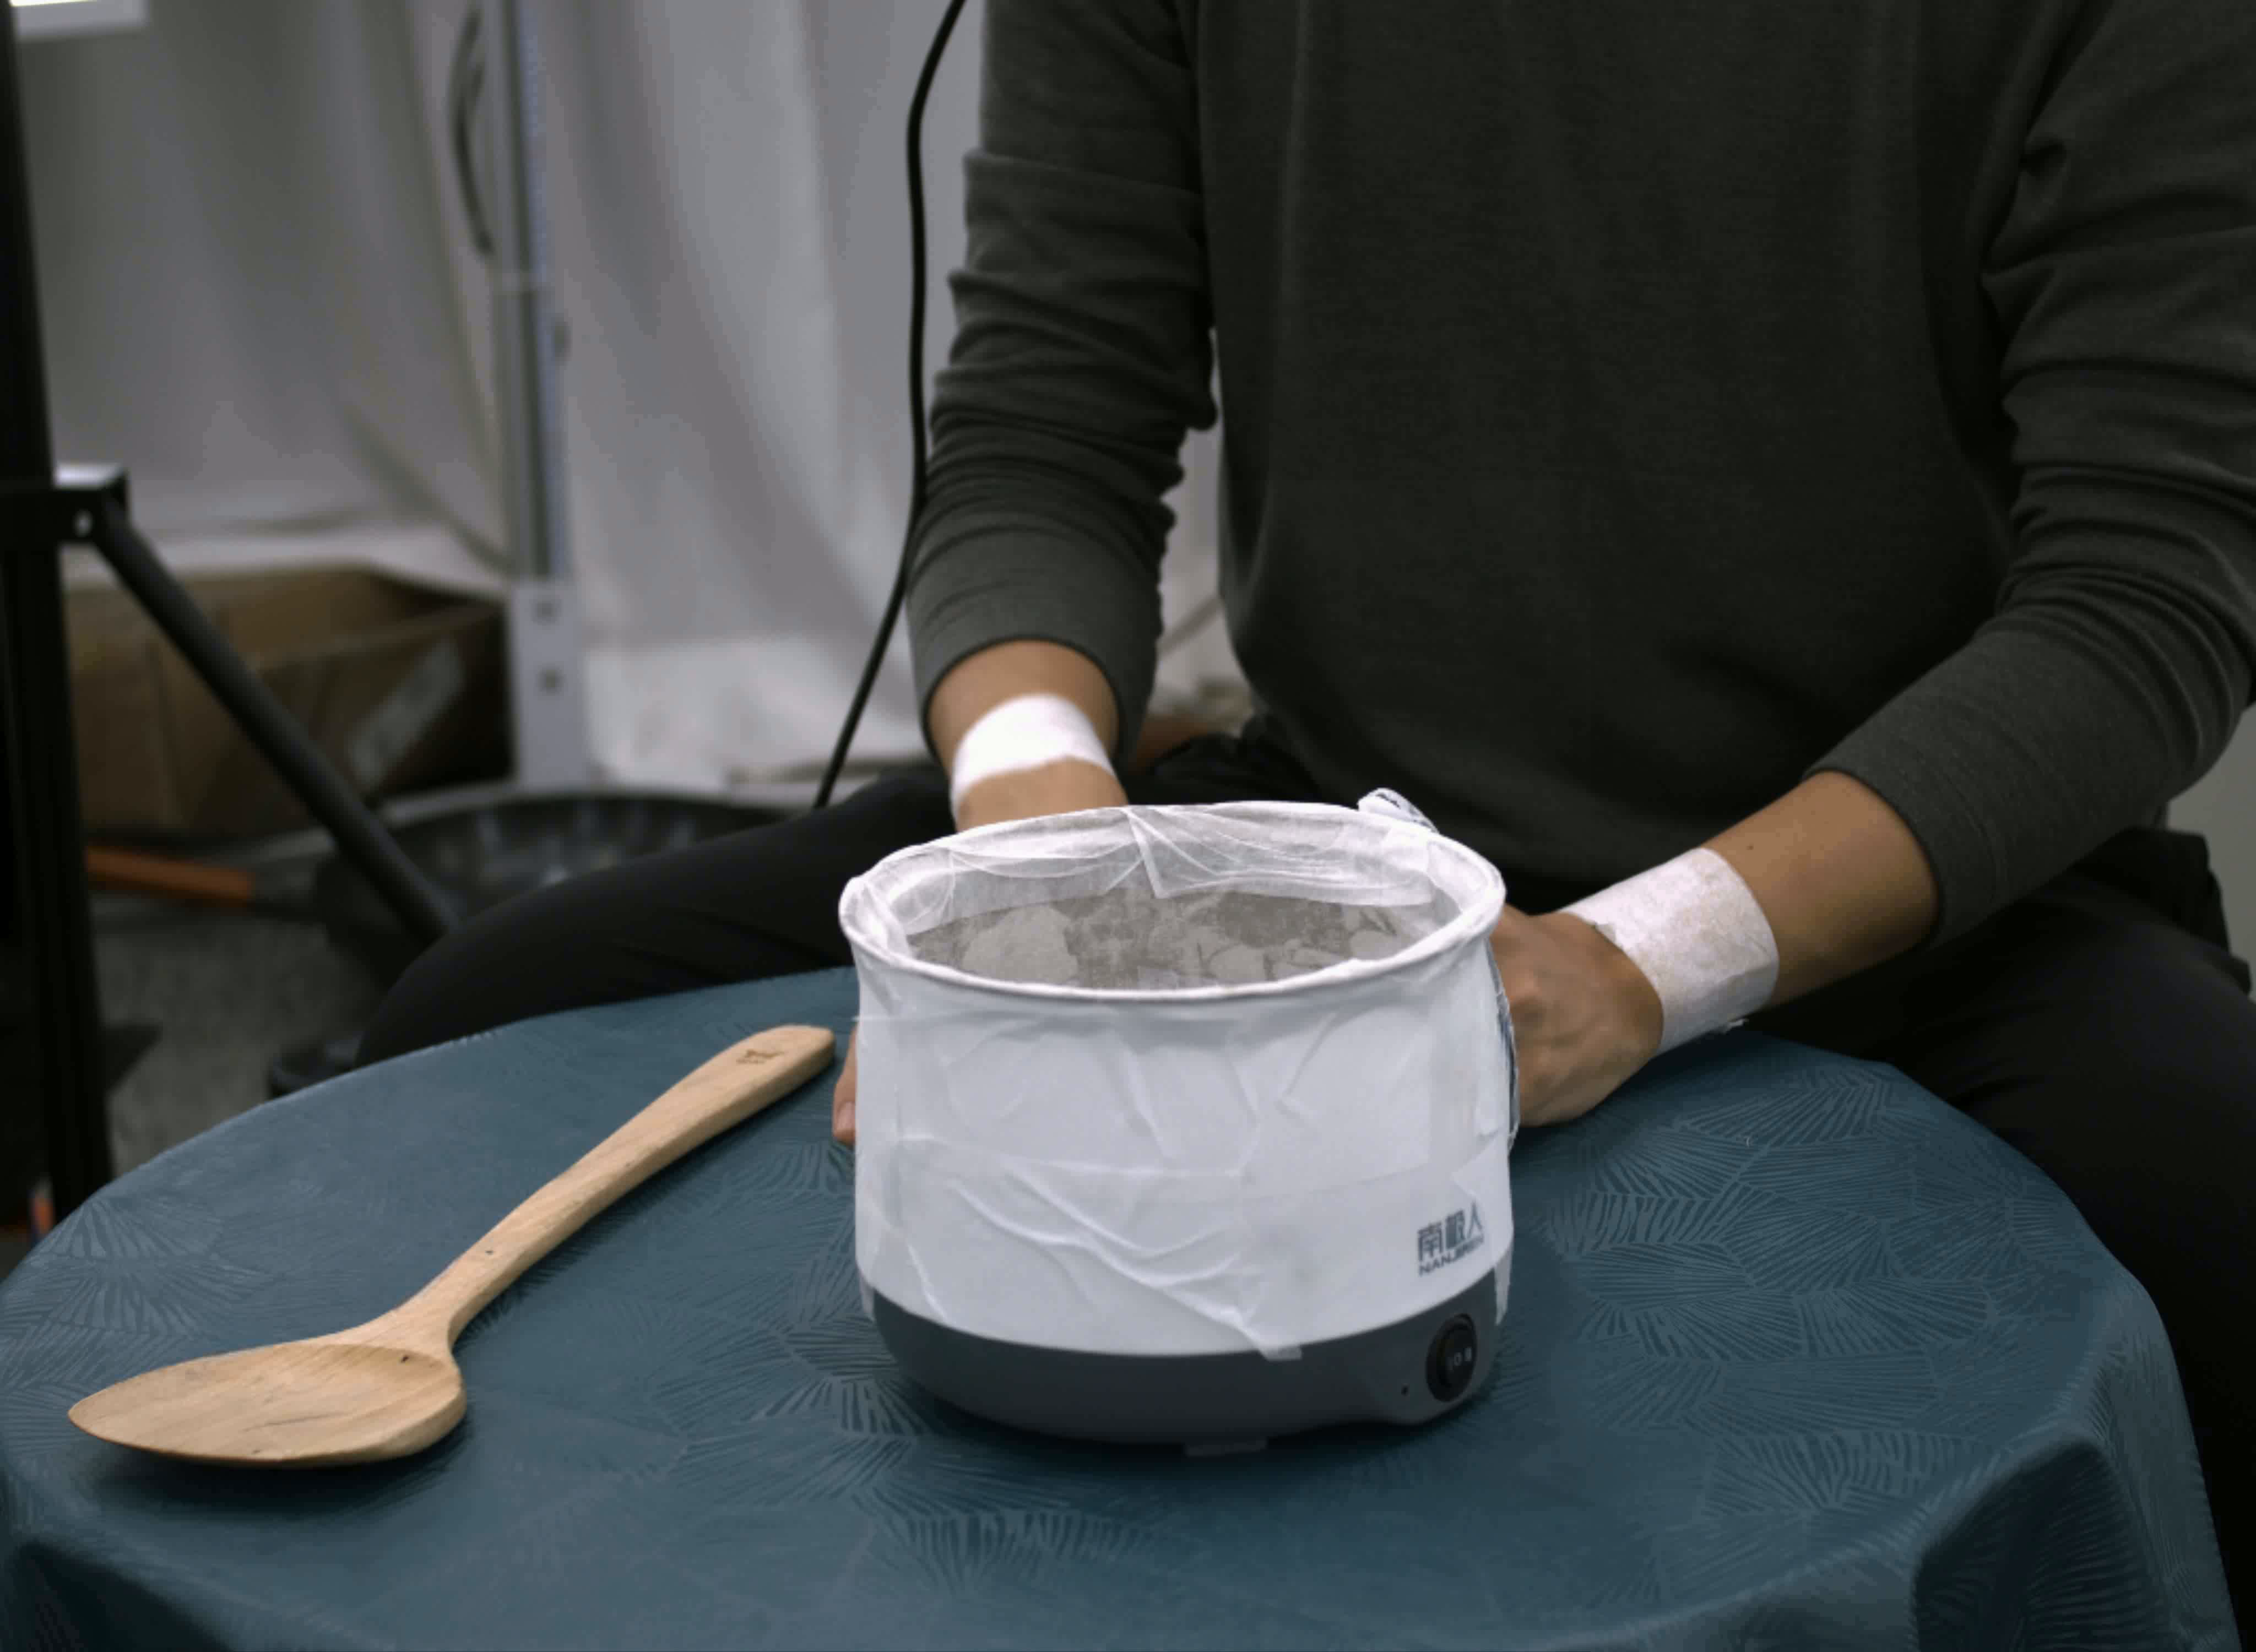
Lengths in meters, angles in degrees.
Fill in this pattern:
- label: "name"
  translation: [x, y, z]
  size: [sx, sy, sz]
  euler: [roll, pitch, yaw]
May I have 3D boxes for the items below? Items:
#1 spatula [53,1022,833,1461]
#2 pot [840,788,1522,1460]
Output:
- label: "spatula"
  translation: [-0.174, 0.113, 1.537]
  size: [0.097, 0.018, 0.386]
  euler: [5, 18, 20]
- label: "pot"
  translation: [0.031, 0.072, 1.434]
  size: [0.182, 0.136, 0.229]
  euler: [10, 19, 36]
